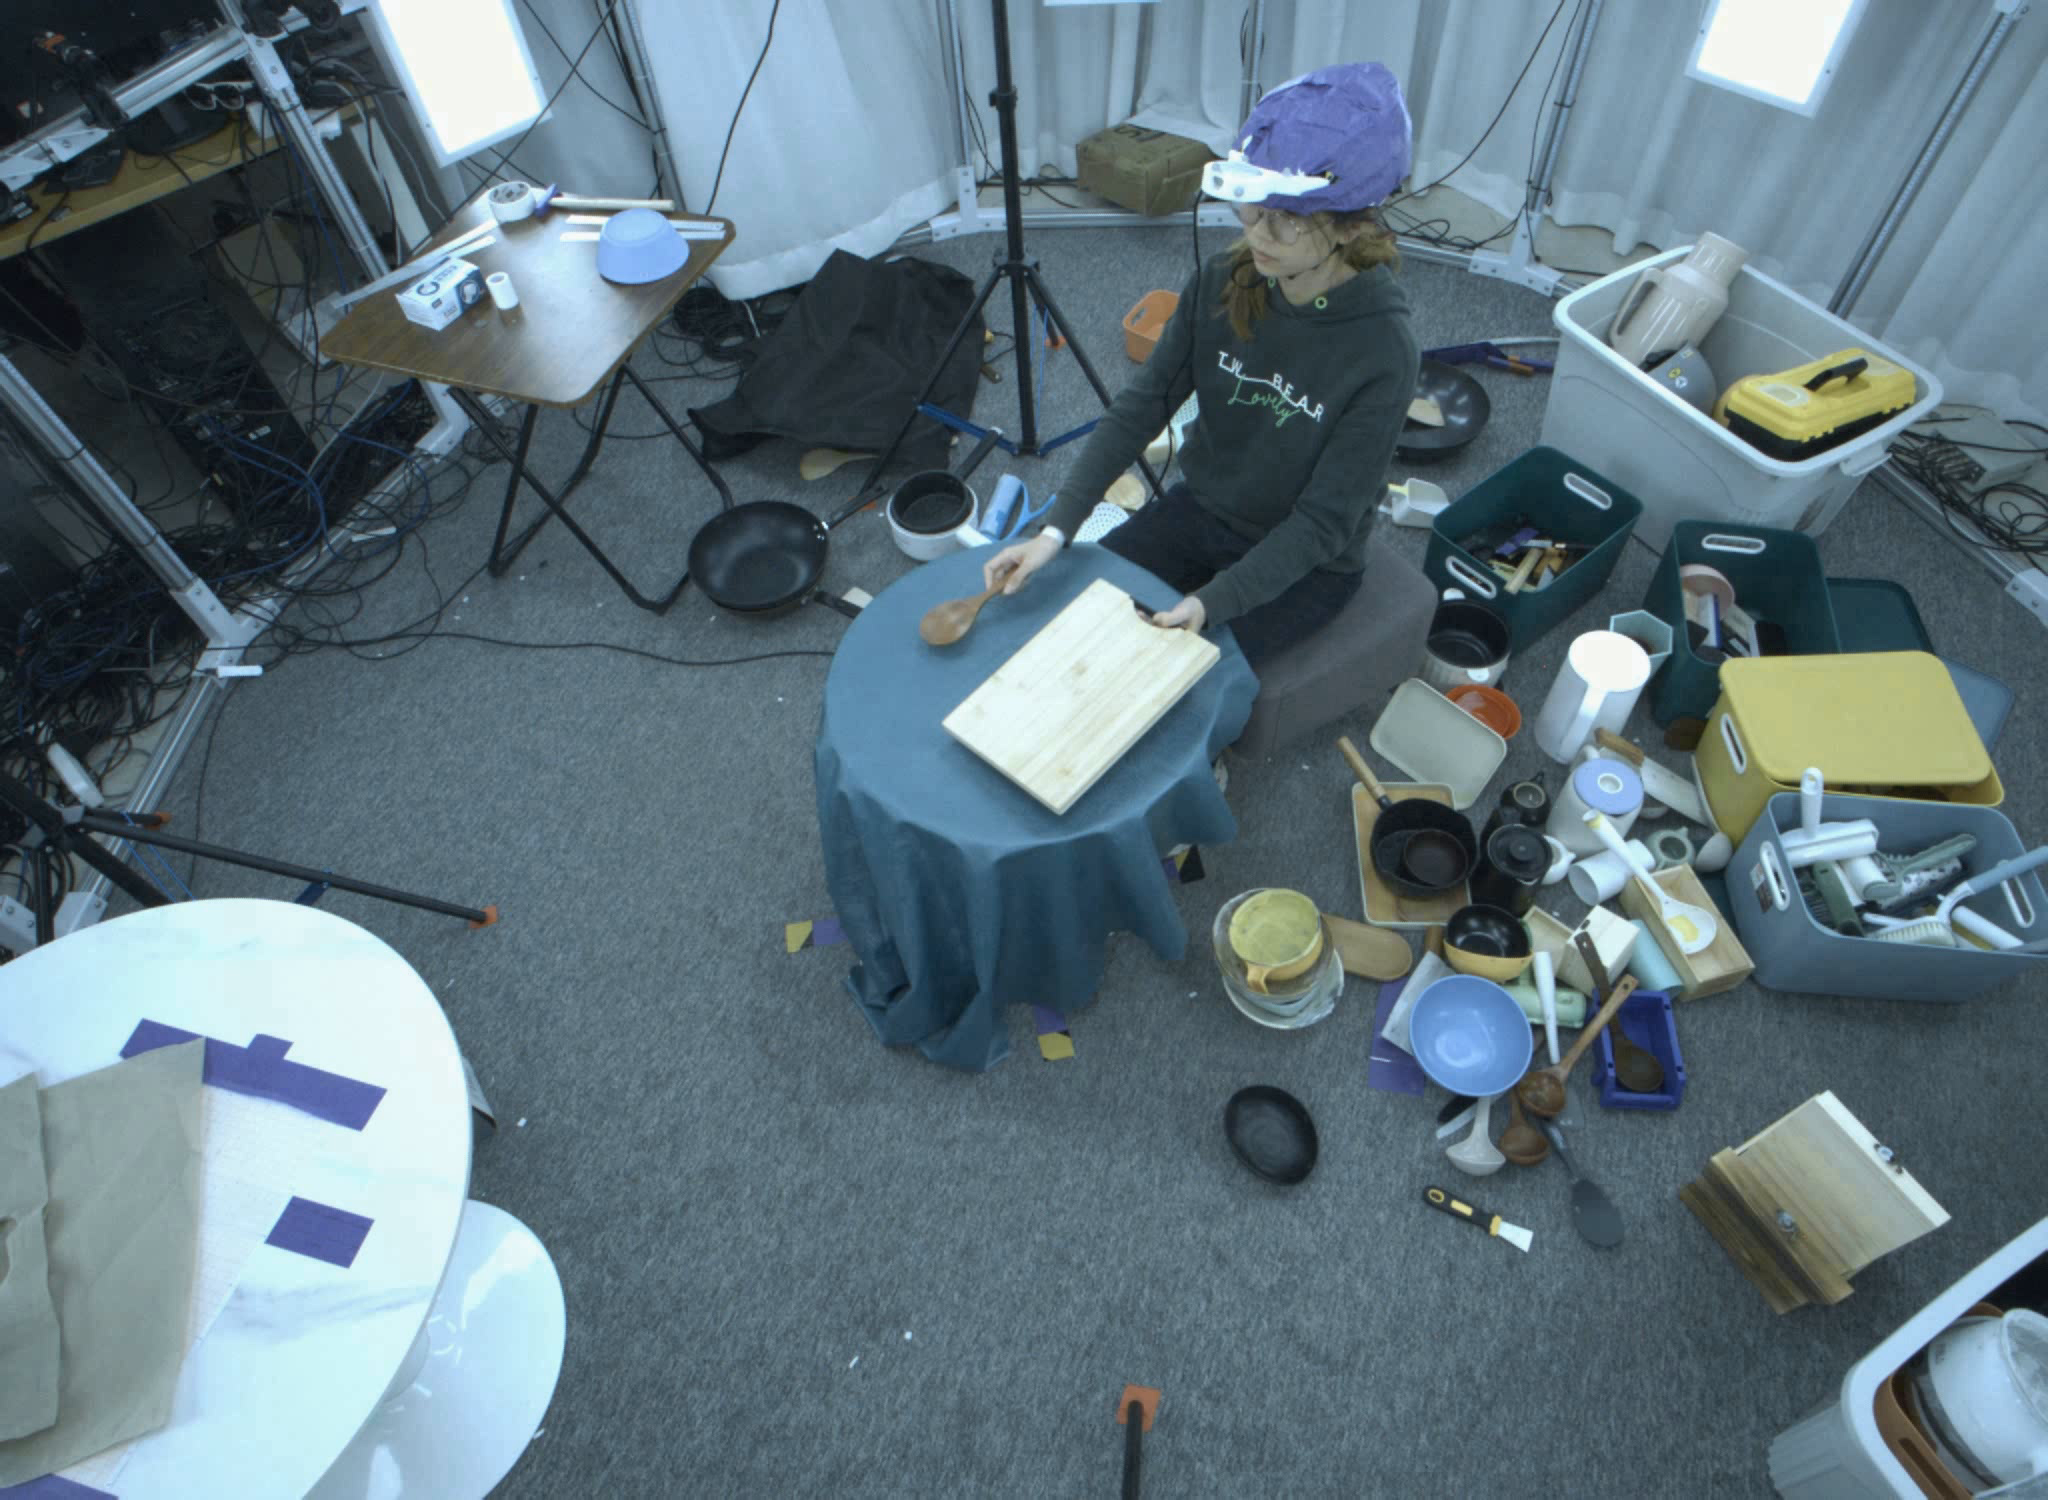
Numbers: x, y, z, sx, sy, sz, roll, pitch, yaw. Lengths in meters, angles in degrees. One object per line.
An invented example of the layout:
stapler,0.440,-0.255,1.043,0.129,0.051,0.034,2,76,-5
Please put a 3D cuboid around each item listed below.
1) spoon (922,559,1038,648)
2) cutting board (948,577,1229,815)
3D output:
spoon,-0.066,-0.229,1.911,0.217,0.017,0.074,-38,62,-11
cutting board,0.090,-0.088,1.778,0.246,0.024,0.350,35,69,28
